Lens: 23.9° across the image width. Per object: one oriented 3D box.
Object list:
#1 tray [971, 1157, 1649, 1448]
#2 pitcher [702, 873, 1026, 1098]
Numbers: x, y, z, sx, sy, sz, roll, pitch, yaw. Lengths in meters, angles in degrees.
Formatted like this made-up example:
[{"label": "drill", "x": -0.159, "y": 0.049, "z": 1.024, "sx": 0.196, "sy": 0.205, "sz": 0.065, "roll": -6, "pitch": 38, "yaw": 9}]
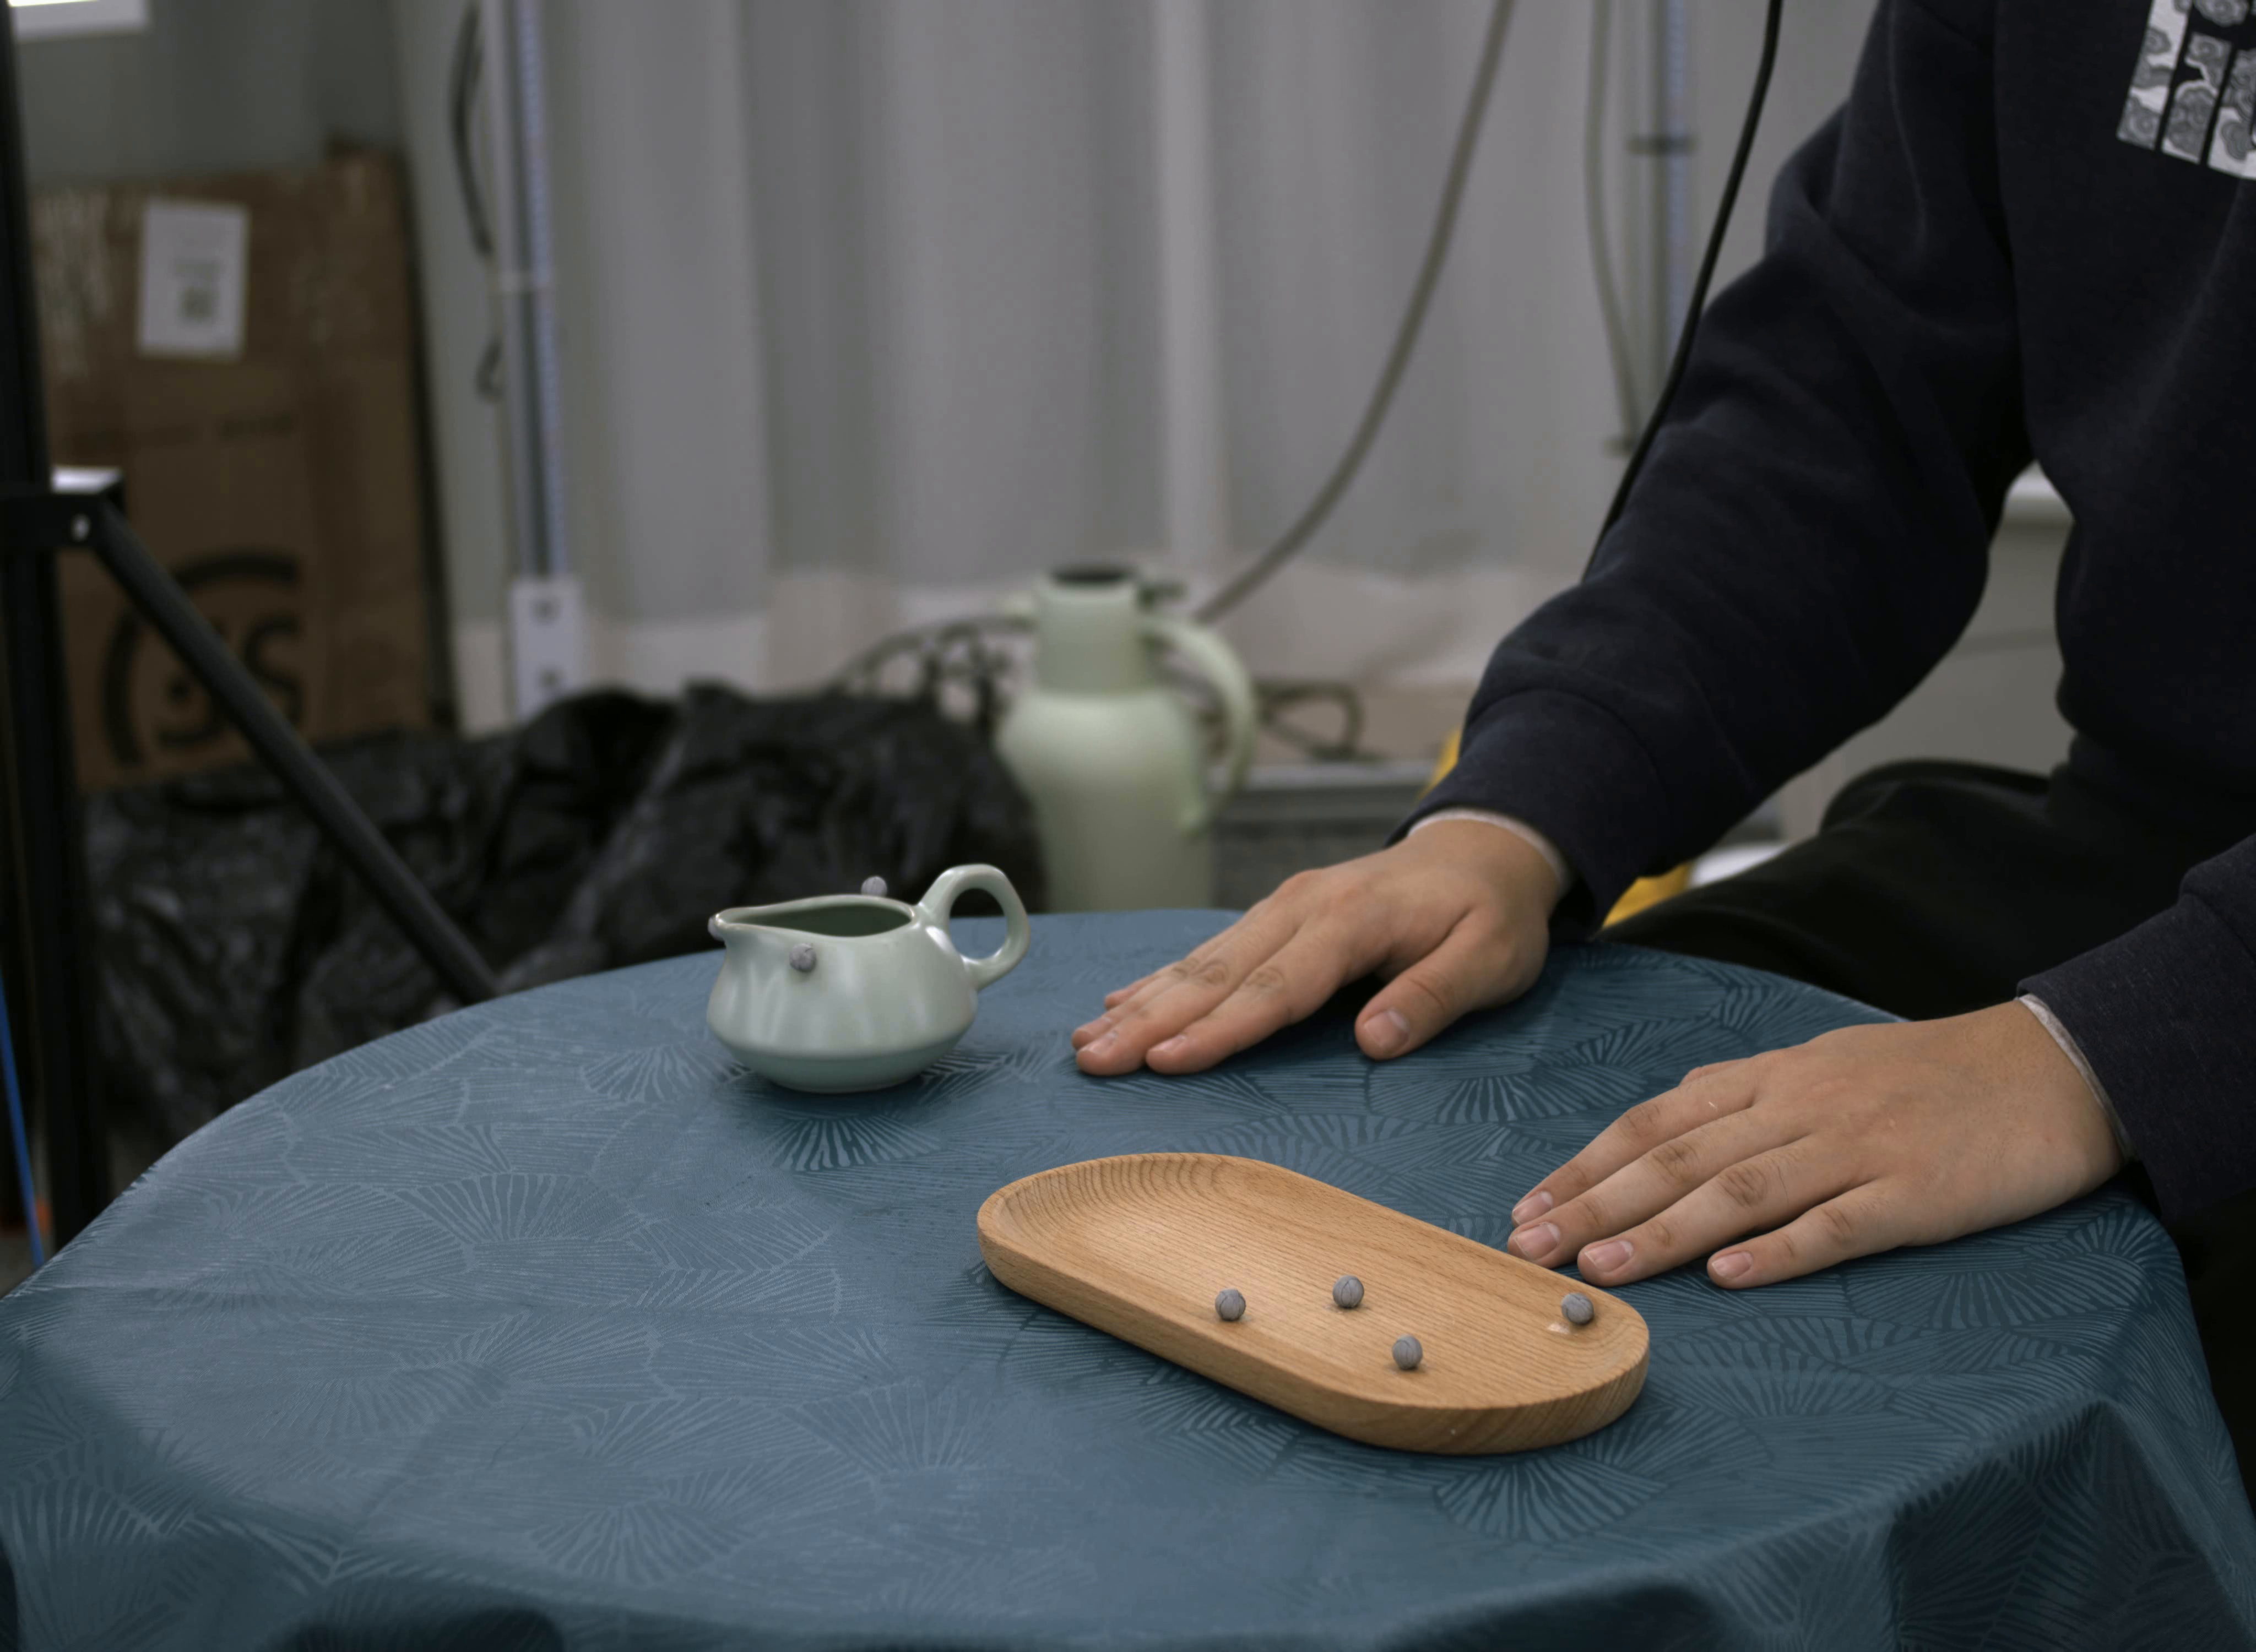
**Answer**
[{"label": "tray", "x": 0.047, "y": 0.128, "z": 1.450, "sx": 0.099, "sy": 0.020, "sz": 0.236, "roll": -12, "pitch": 16, "yaw": -35}, {"label": "pitcher", "x": -0.081, "y": 0.049, "z": 1.677, "sx": 0.105, "sy": 0.060, "sz": 0.088, "roll": -8, "pitch": 18, "yaw": -27}]
